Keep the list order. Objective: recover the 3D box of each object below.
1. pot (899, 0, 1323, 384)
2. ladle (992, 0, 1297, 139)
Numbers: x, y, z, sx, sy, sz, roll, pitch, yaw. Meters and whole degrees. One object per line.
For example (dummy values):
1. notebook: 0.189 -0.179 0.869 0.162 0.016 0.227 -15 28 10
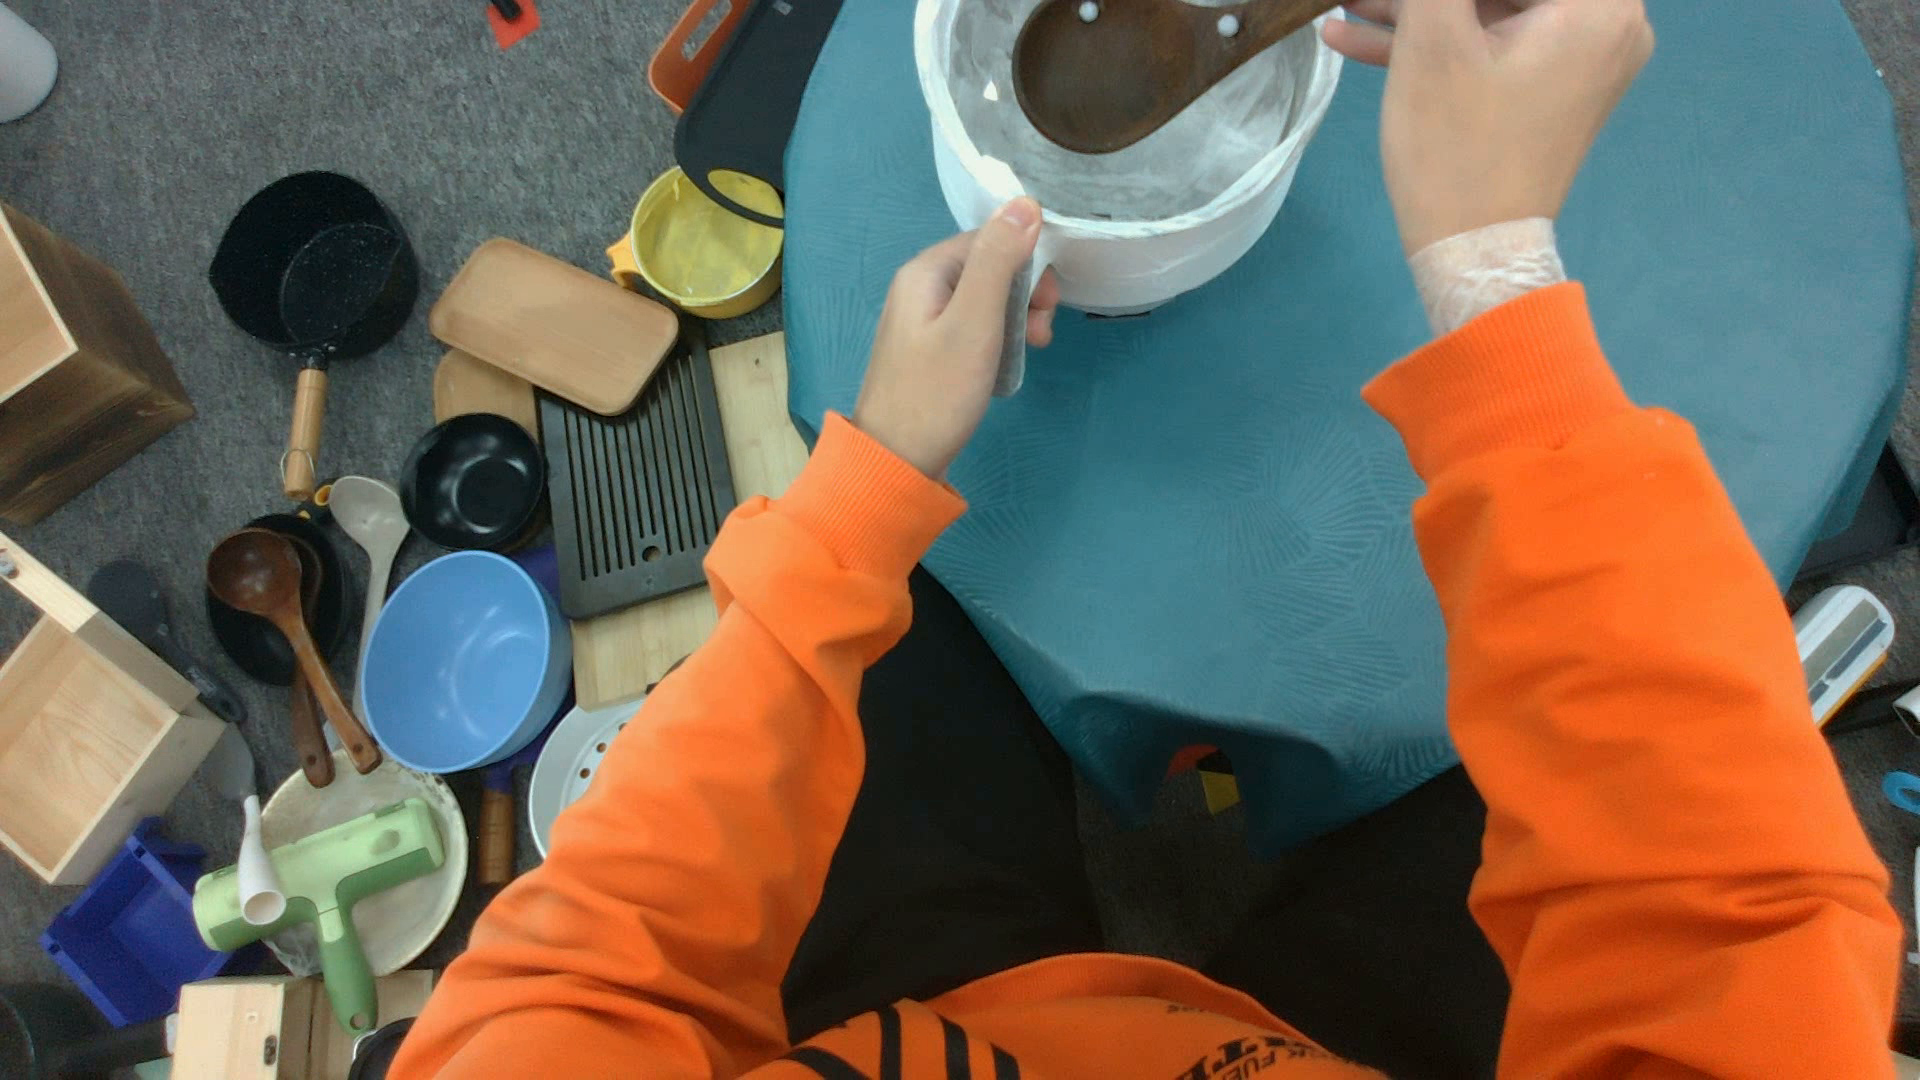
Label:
1. pot: 0.054 -0.186 0.633 0.178 0.136 0.234 25 85 6
2. ladle: 0.118 -0.214 0.504 0.071 0.273 0.076 -2 89 -37
